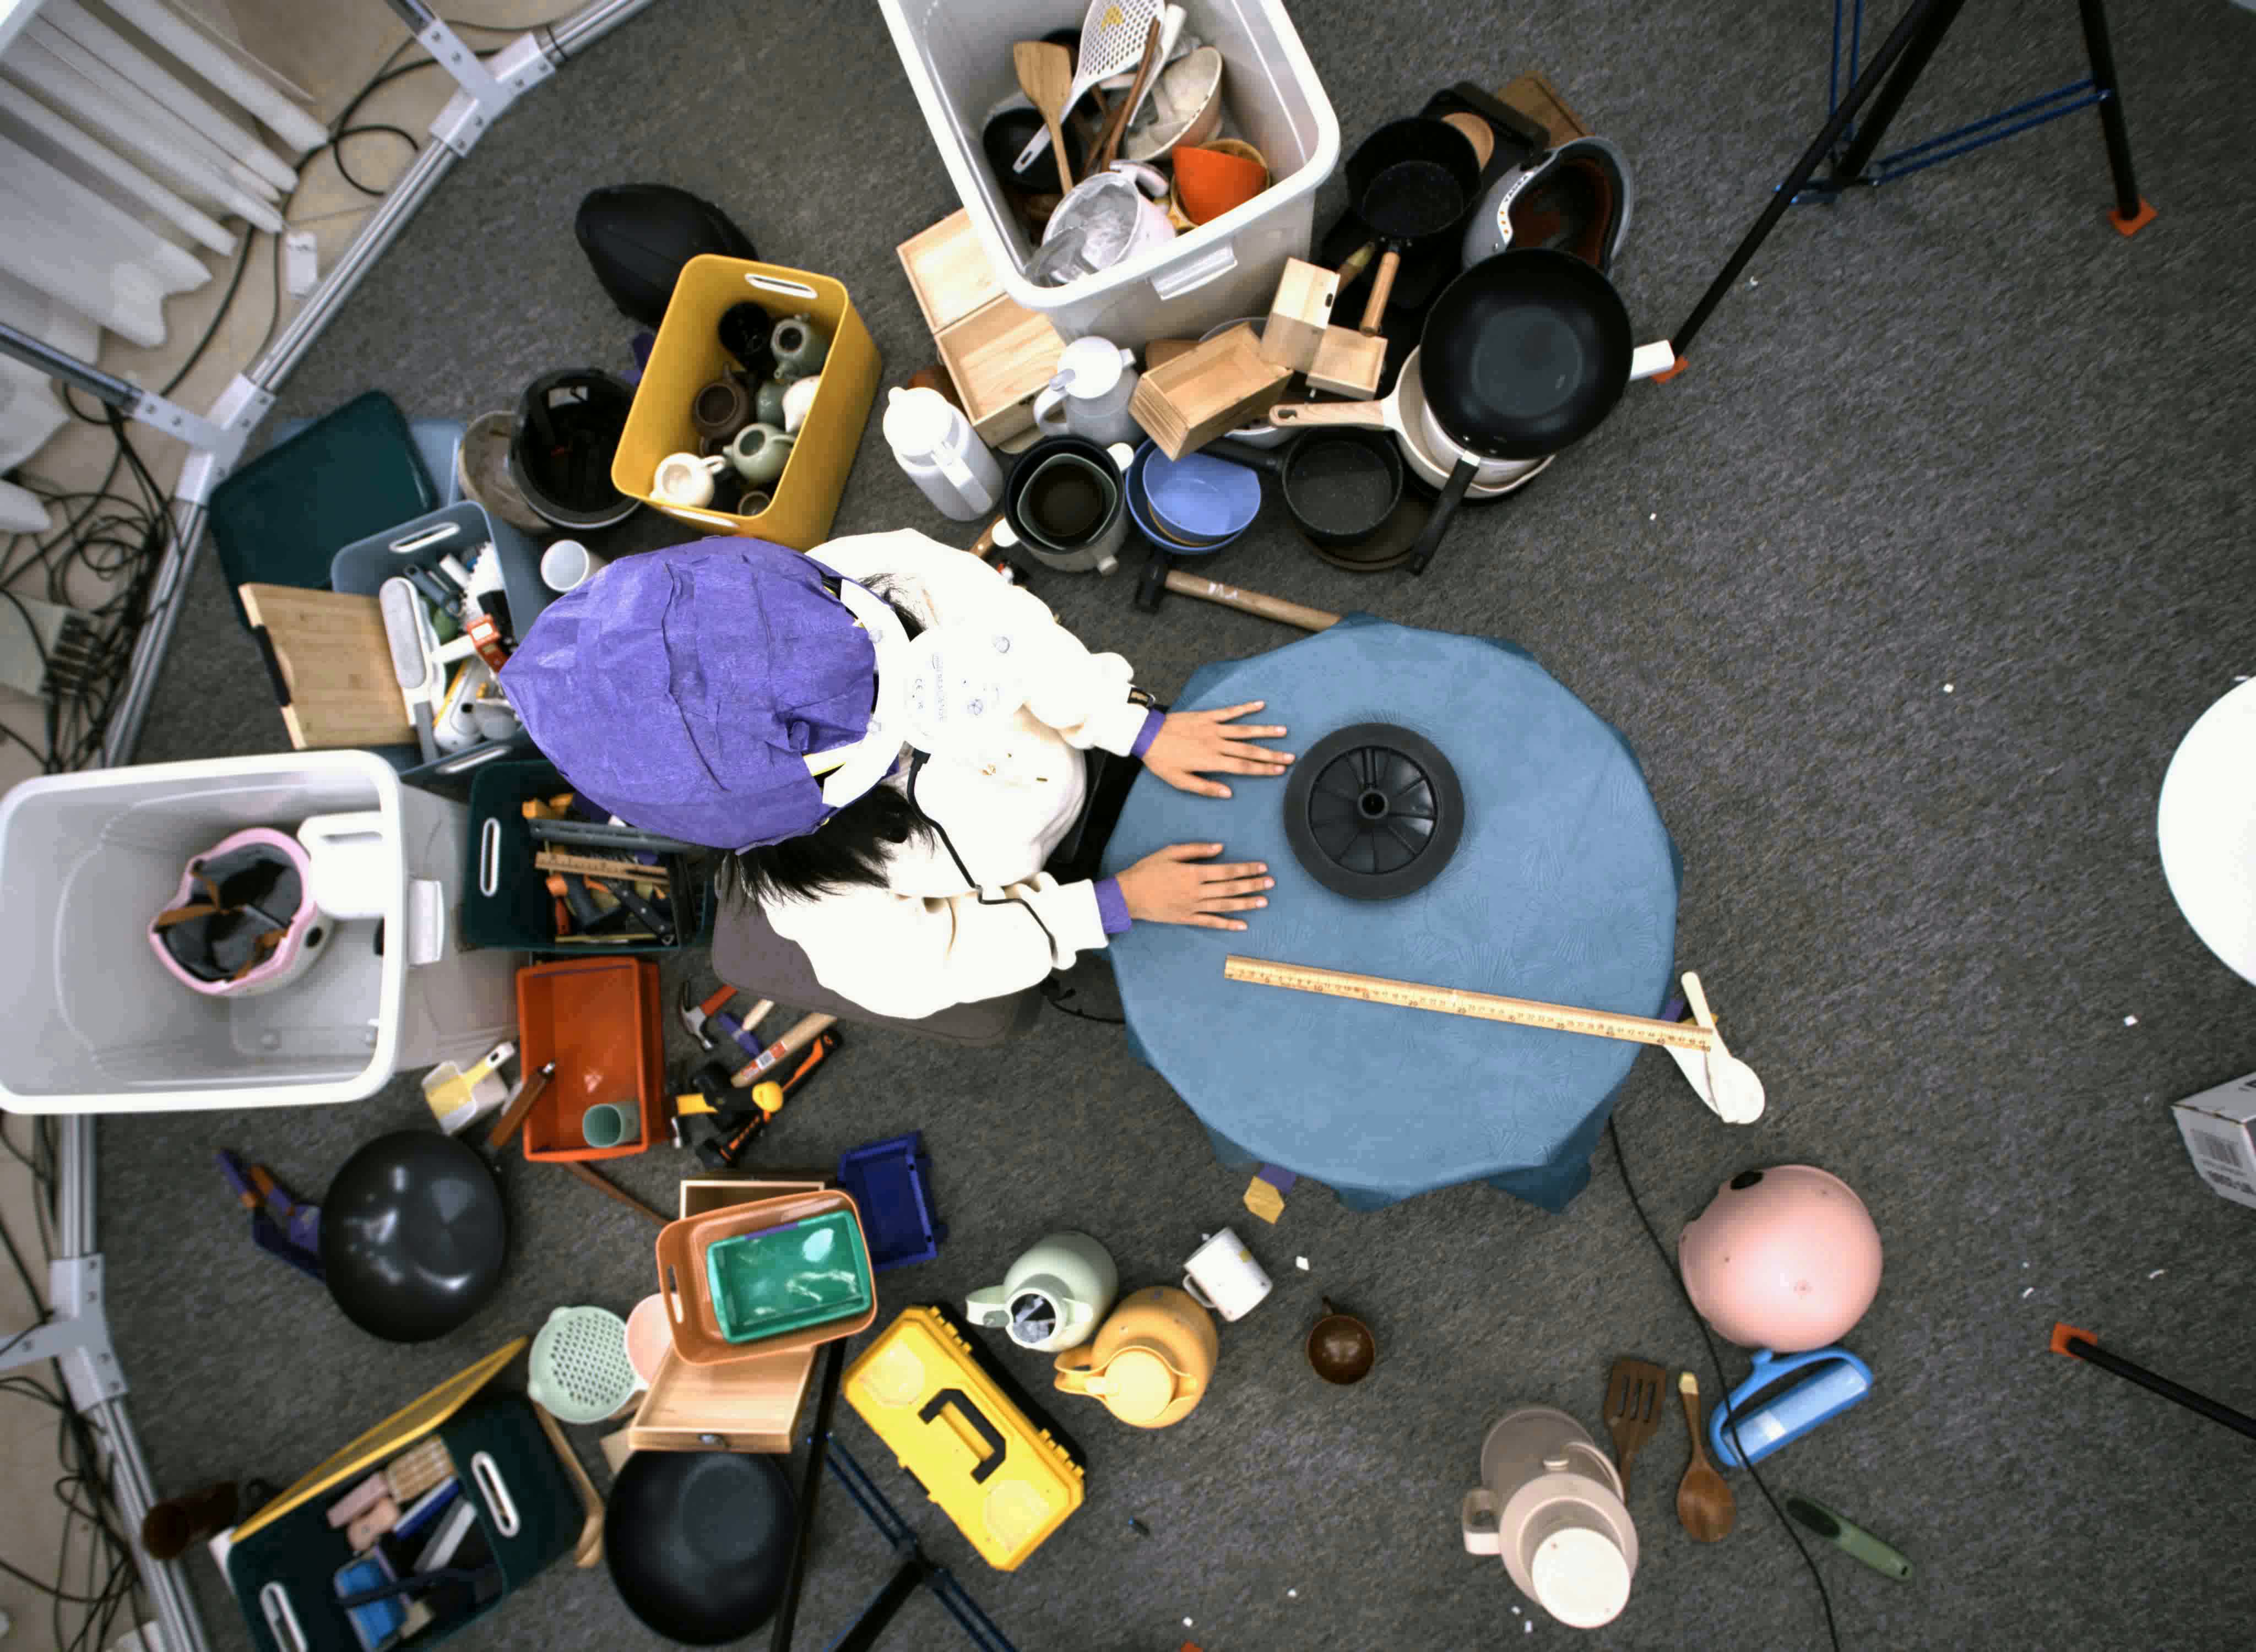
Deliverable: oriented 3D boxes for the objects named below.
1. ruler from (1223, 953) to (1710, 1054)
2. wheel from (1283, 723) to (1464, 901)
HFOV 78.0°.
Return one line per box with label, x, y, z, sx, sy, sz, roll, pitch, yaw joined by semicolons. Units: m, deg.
ruler;0.347;0.182;1.437;0.502;0.006;0.027;8;89;11
wheel;0.254;-0.019;1.430;0.188;0.079;0.188;-27;81;8
